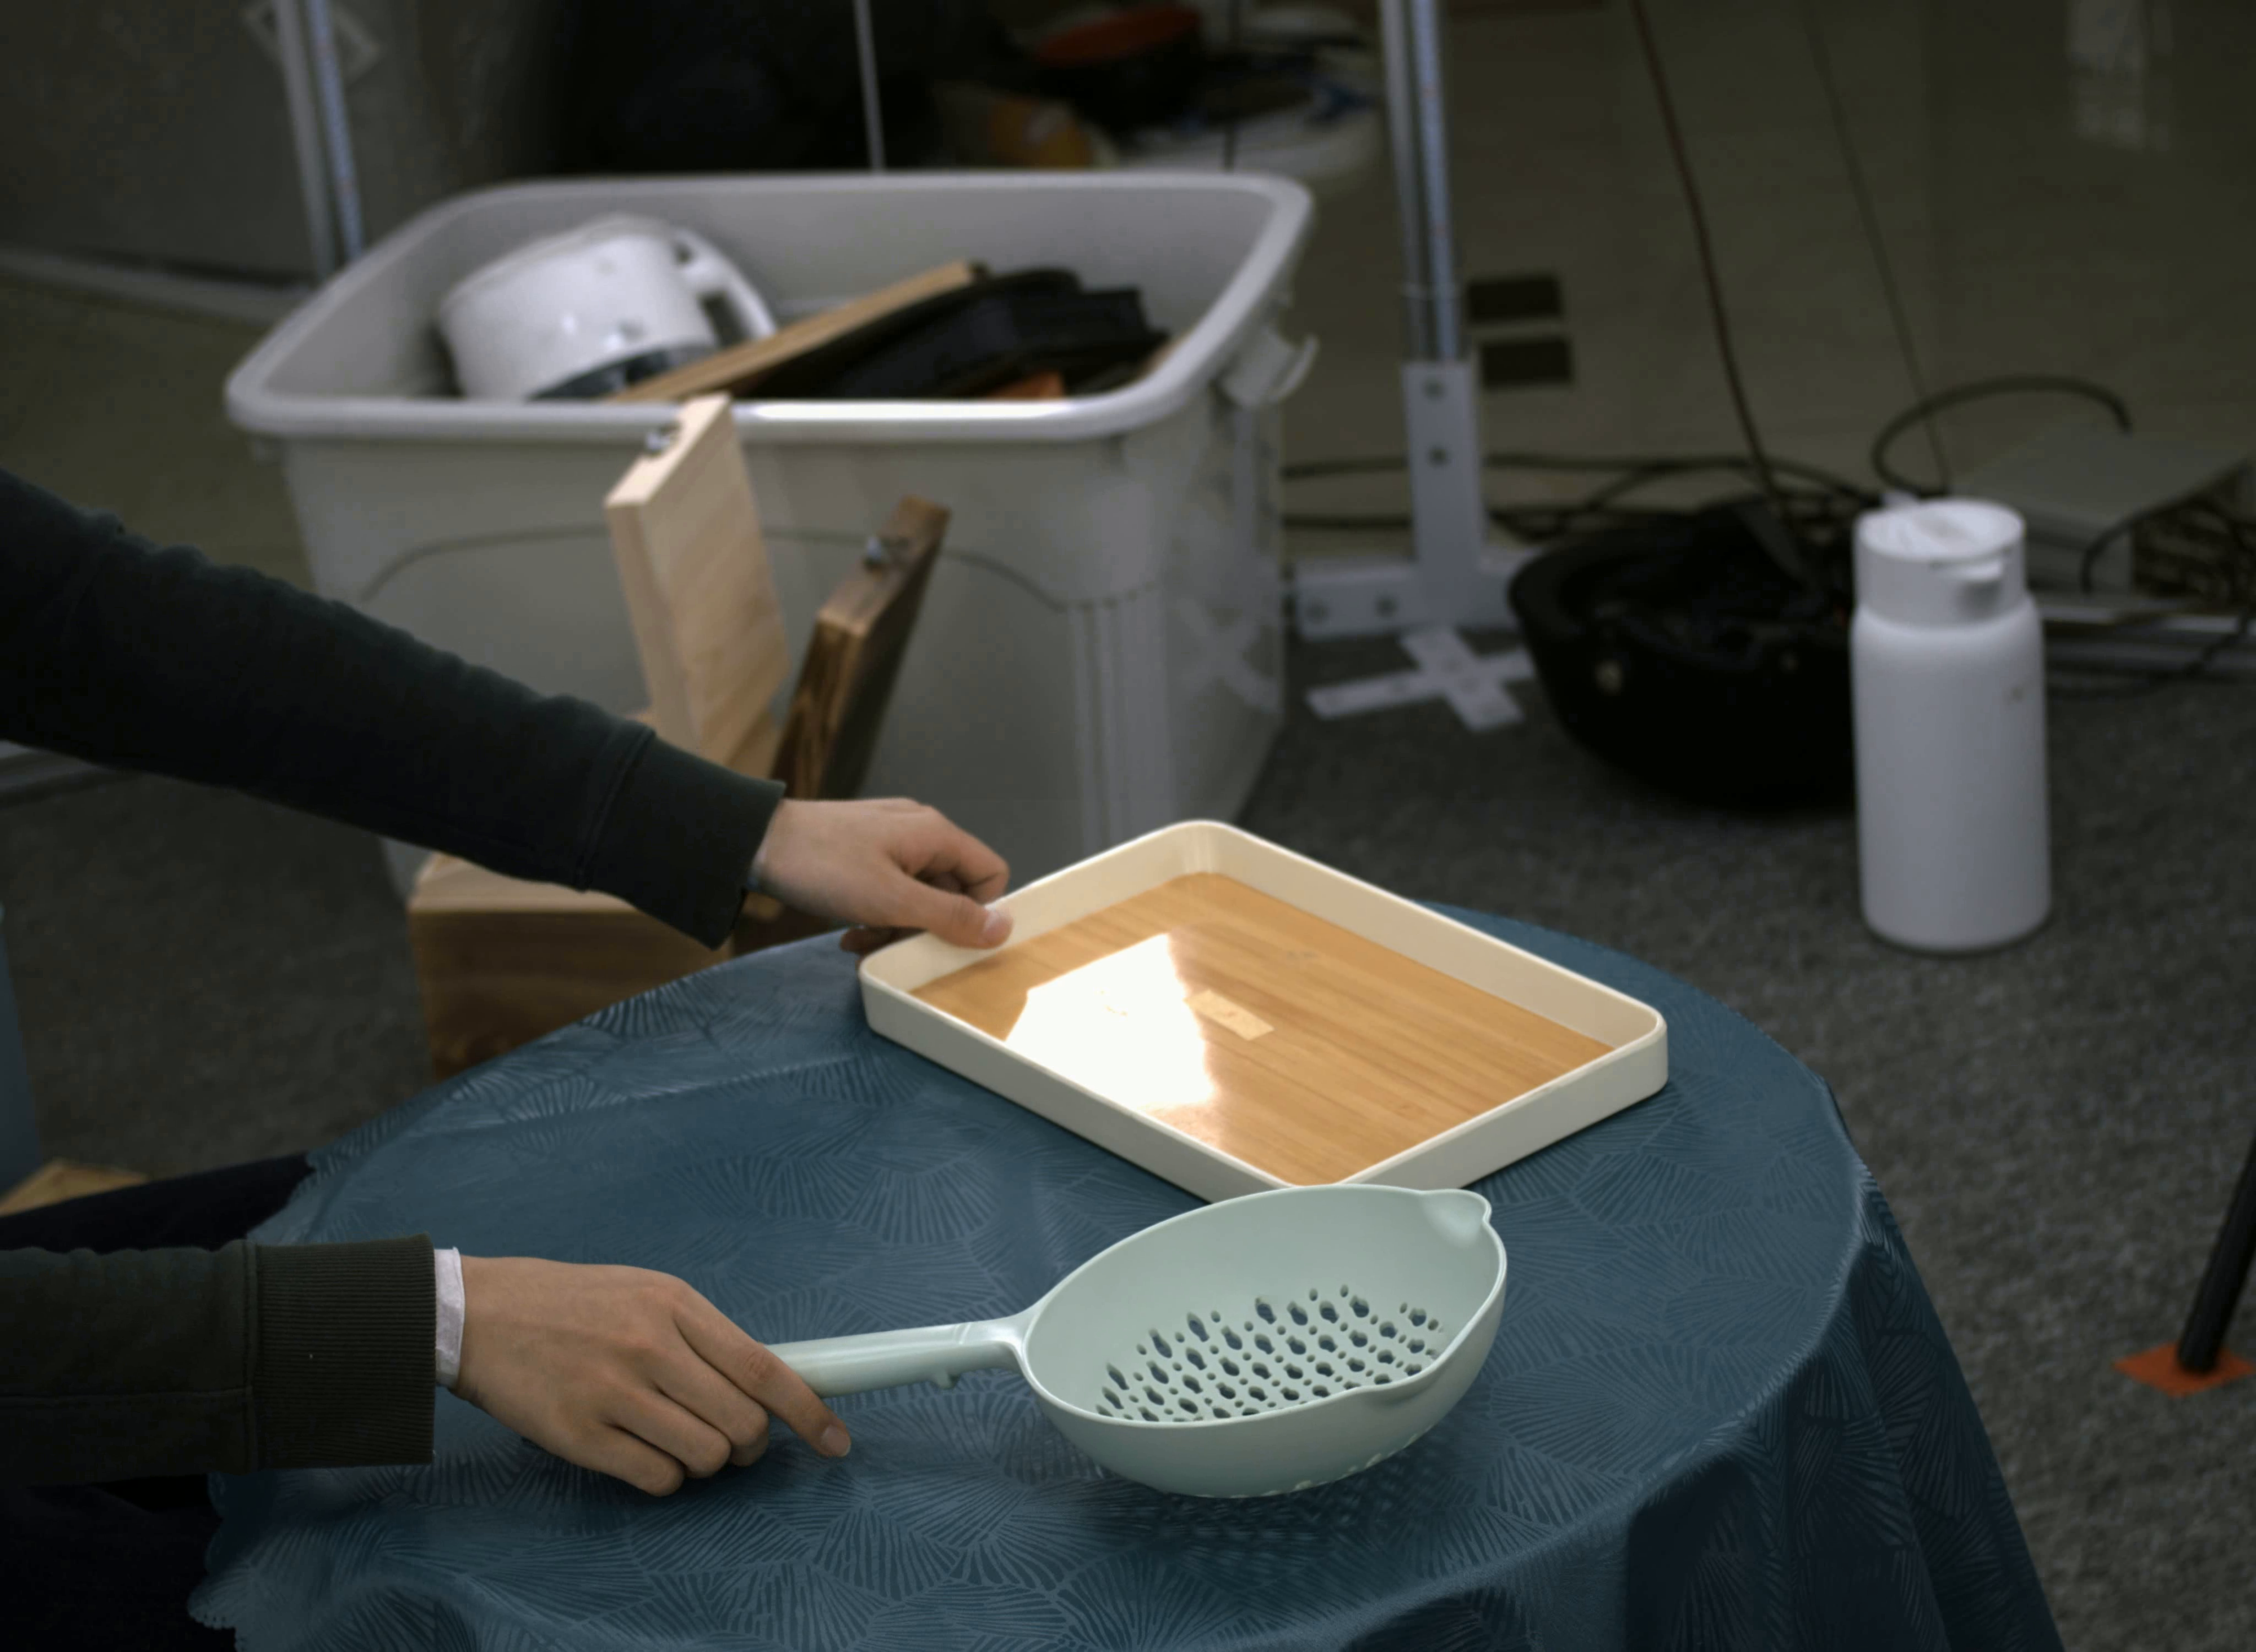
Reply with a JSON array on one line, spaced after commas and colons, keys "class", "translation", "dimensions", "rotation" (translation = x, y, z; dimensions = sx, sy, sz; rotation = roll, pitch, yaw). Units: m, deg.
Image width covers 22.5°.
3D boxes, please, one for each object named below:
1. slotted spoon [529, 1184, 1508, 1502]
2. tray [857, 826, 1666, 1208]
[{"class": "slotted spoon", "translation": [-0.044, 0.187, 1.981], "dimensions": [0.358, 0.076, 0.167], "rotation": [0, 24, 13]}, {"class": "tray", "translation": [0.049, 0.079, 2.239], "dimensions": [0.190, 0.028, 0.297], "rotation": [-23, 29, -32]}]
